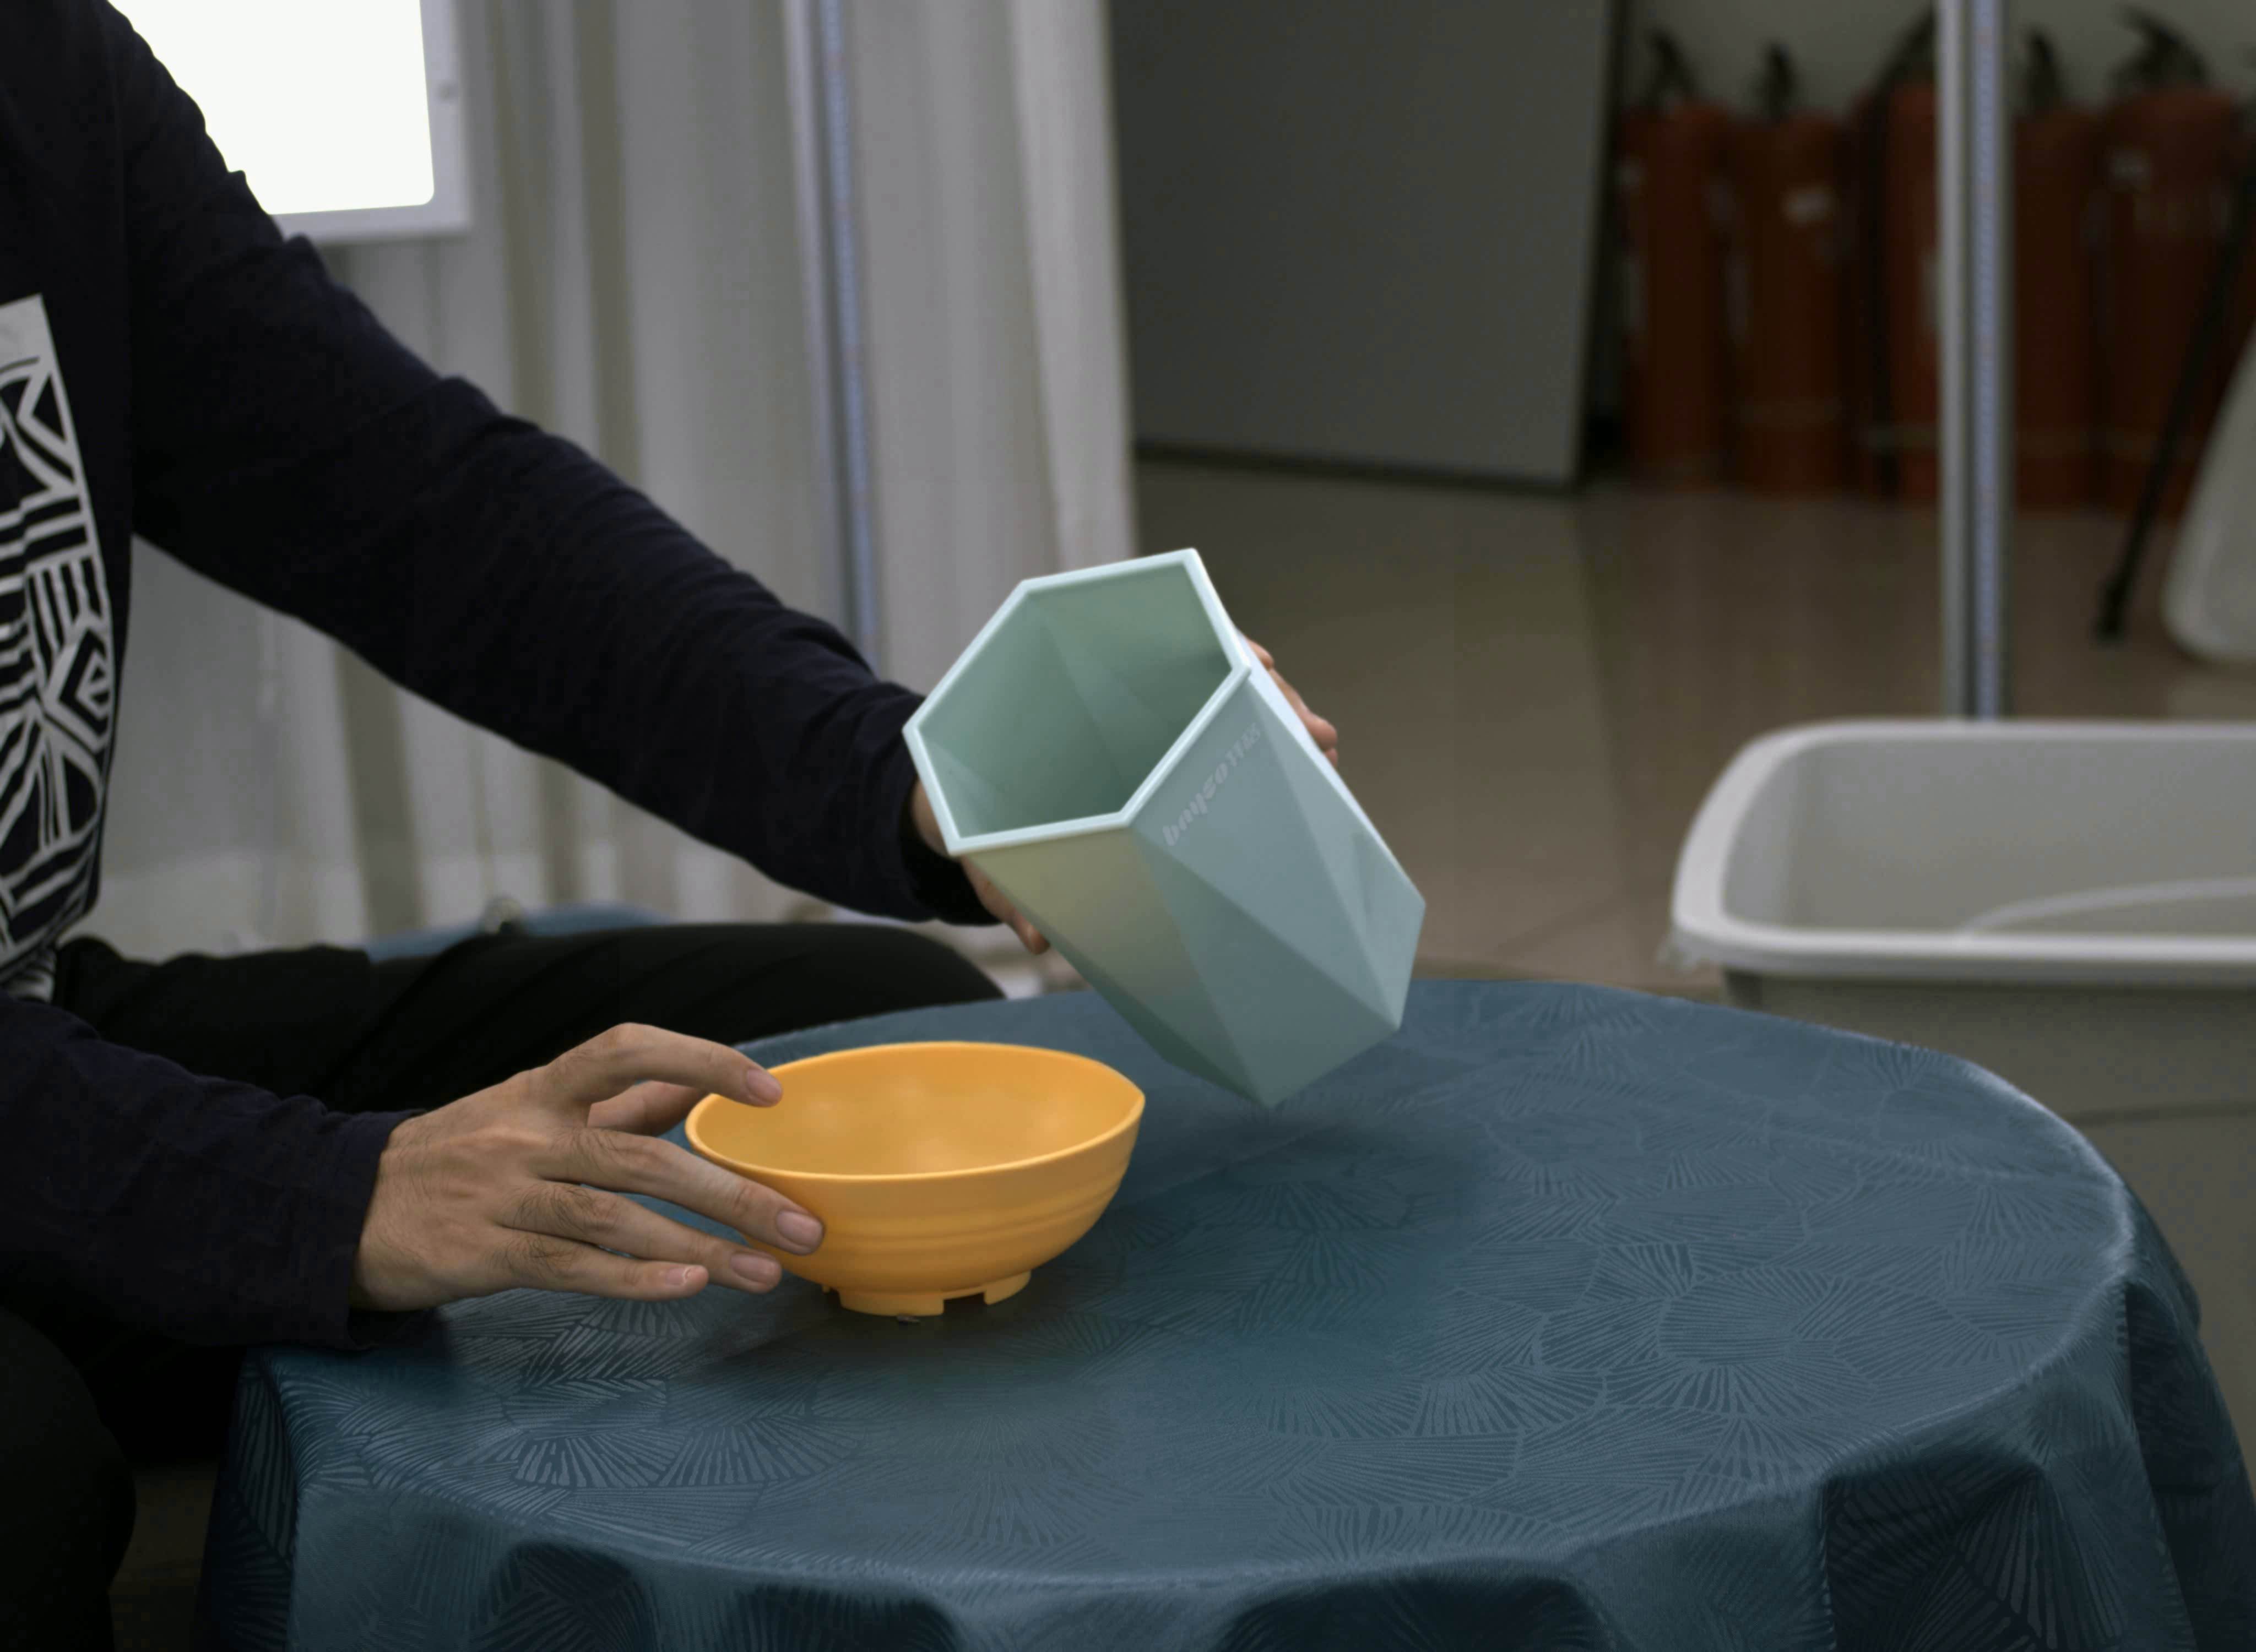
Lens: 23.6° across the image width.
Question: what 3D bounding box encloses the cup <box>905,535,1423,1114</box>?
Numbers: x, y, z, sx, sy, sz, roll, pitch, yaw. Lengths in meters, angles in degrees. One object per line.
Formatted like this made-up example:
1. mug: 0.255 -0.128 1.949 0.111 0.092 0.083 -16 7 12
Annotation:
1. cup: 0.020 0.005 1.779 0.116 0.161 0.131 19 64 48

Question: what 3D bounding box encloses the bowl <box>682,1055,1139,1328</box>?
1. bowl: -0.066 0.118 1.689 0.143 0.061 0.145 -5 12 0
